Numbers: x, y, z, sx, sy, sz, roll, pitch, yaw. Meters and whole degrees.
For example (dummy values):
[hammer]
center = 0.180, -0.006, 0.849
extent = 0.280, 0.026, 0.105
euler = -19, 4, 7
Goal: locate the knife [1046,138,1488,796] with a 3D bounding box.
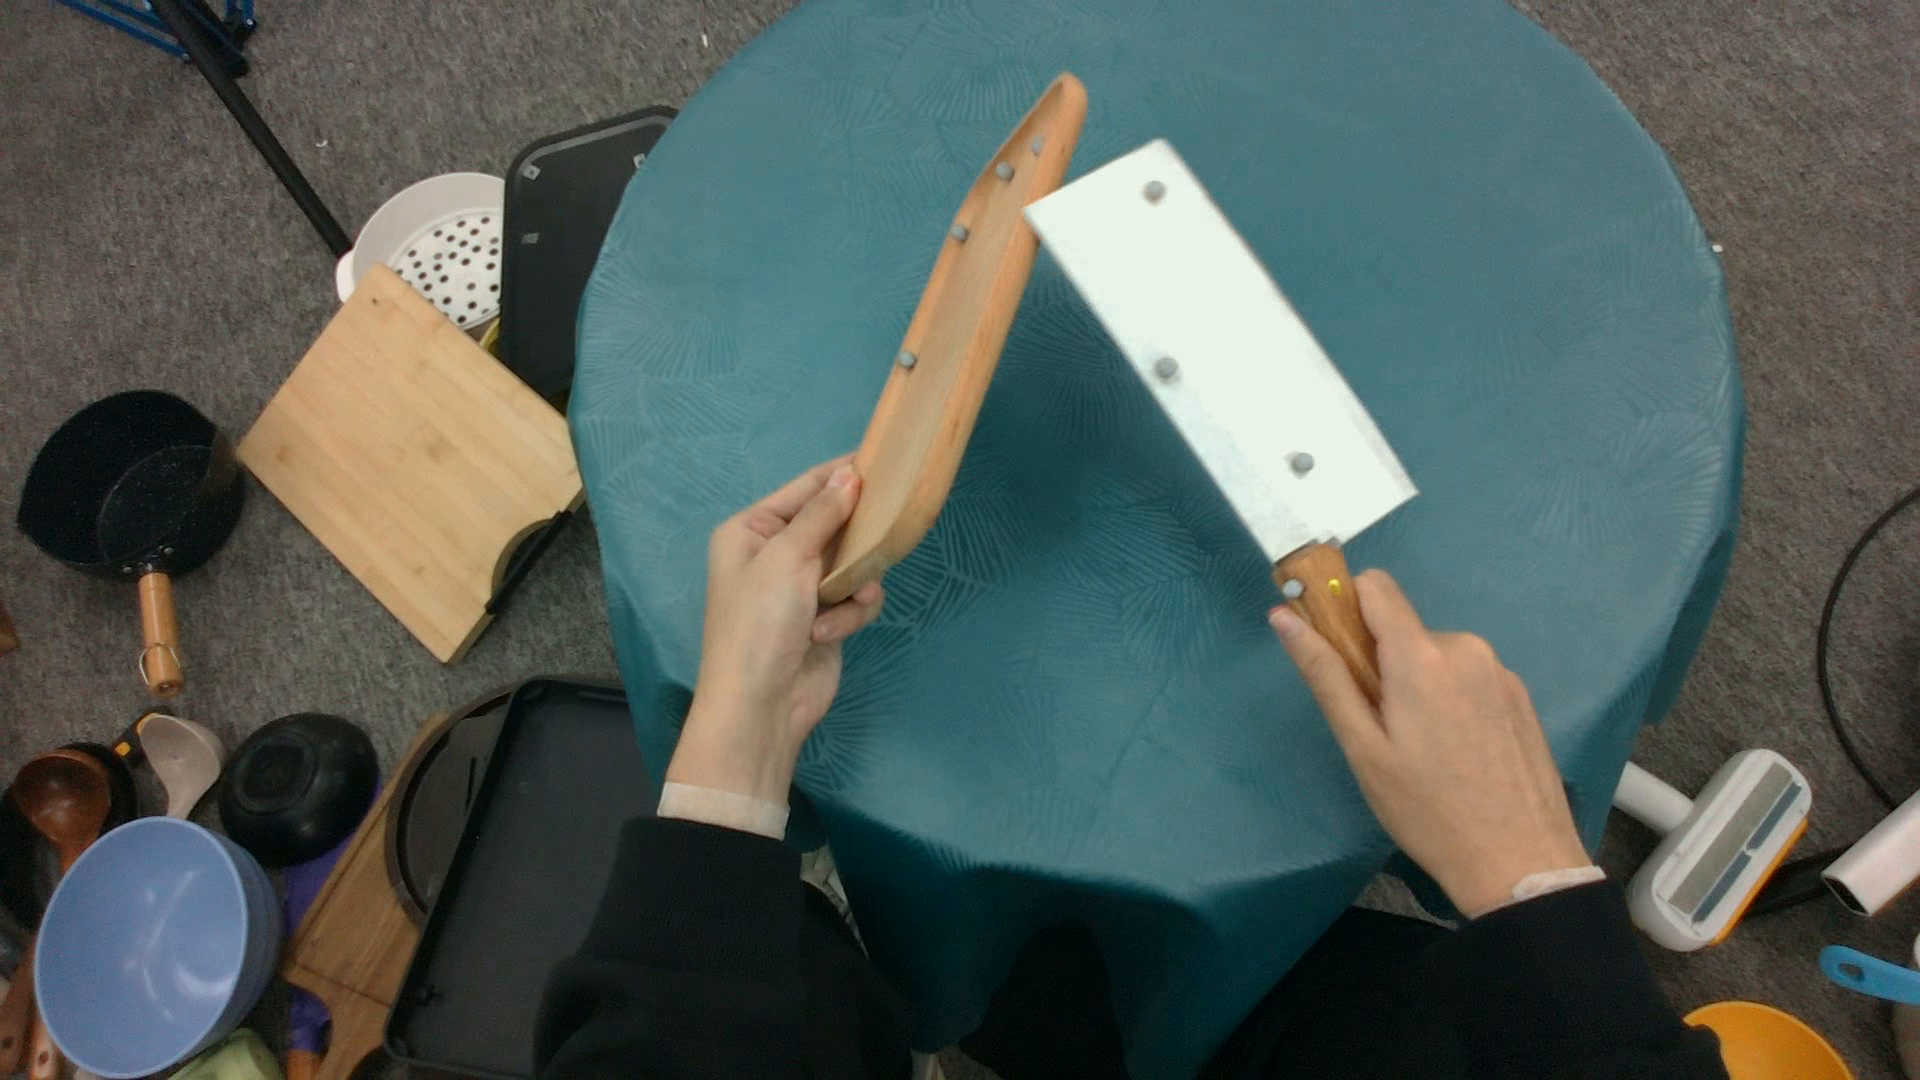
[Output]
[knife]
center = 0.146, -0.041, 0.590
extent = 0.093, 0.021, 0.306
euler = -28, 83, -29

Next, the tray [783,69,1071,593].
[tray]
center = -0.013, -0.094, 0.614
extent = 0.023, 0.130, 0.251
euler = 26, 64, -16
